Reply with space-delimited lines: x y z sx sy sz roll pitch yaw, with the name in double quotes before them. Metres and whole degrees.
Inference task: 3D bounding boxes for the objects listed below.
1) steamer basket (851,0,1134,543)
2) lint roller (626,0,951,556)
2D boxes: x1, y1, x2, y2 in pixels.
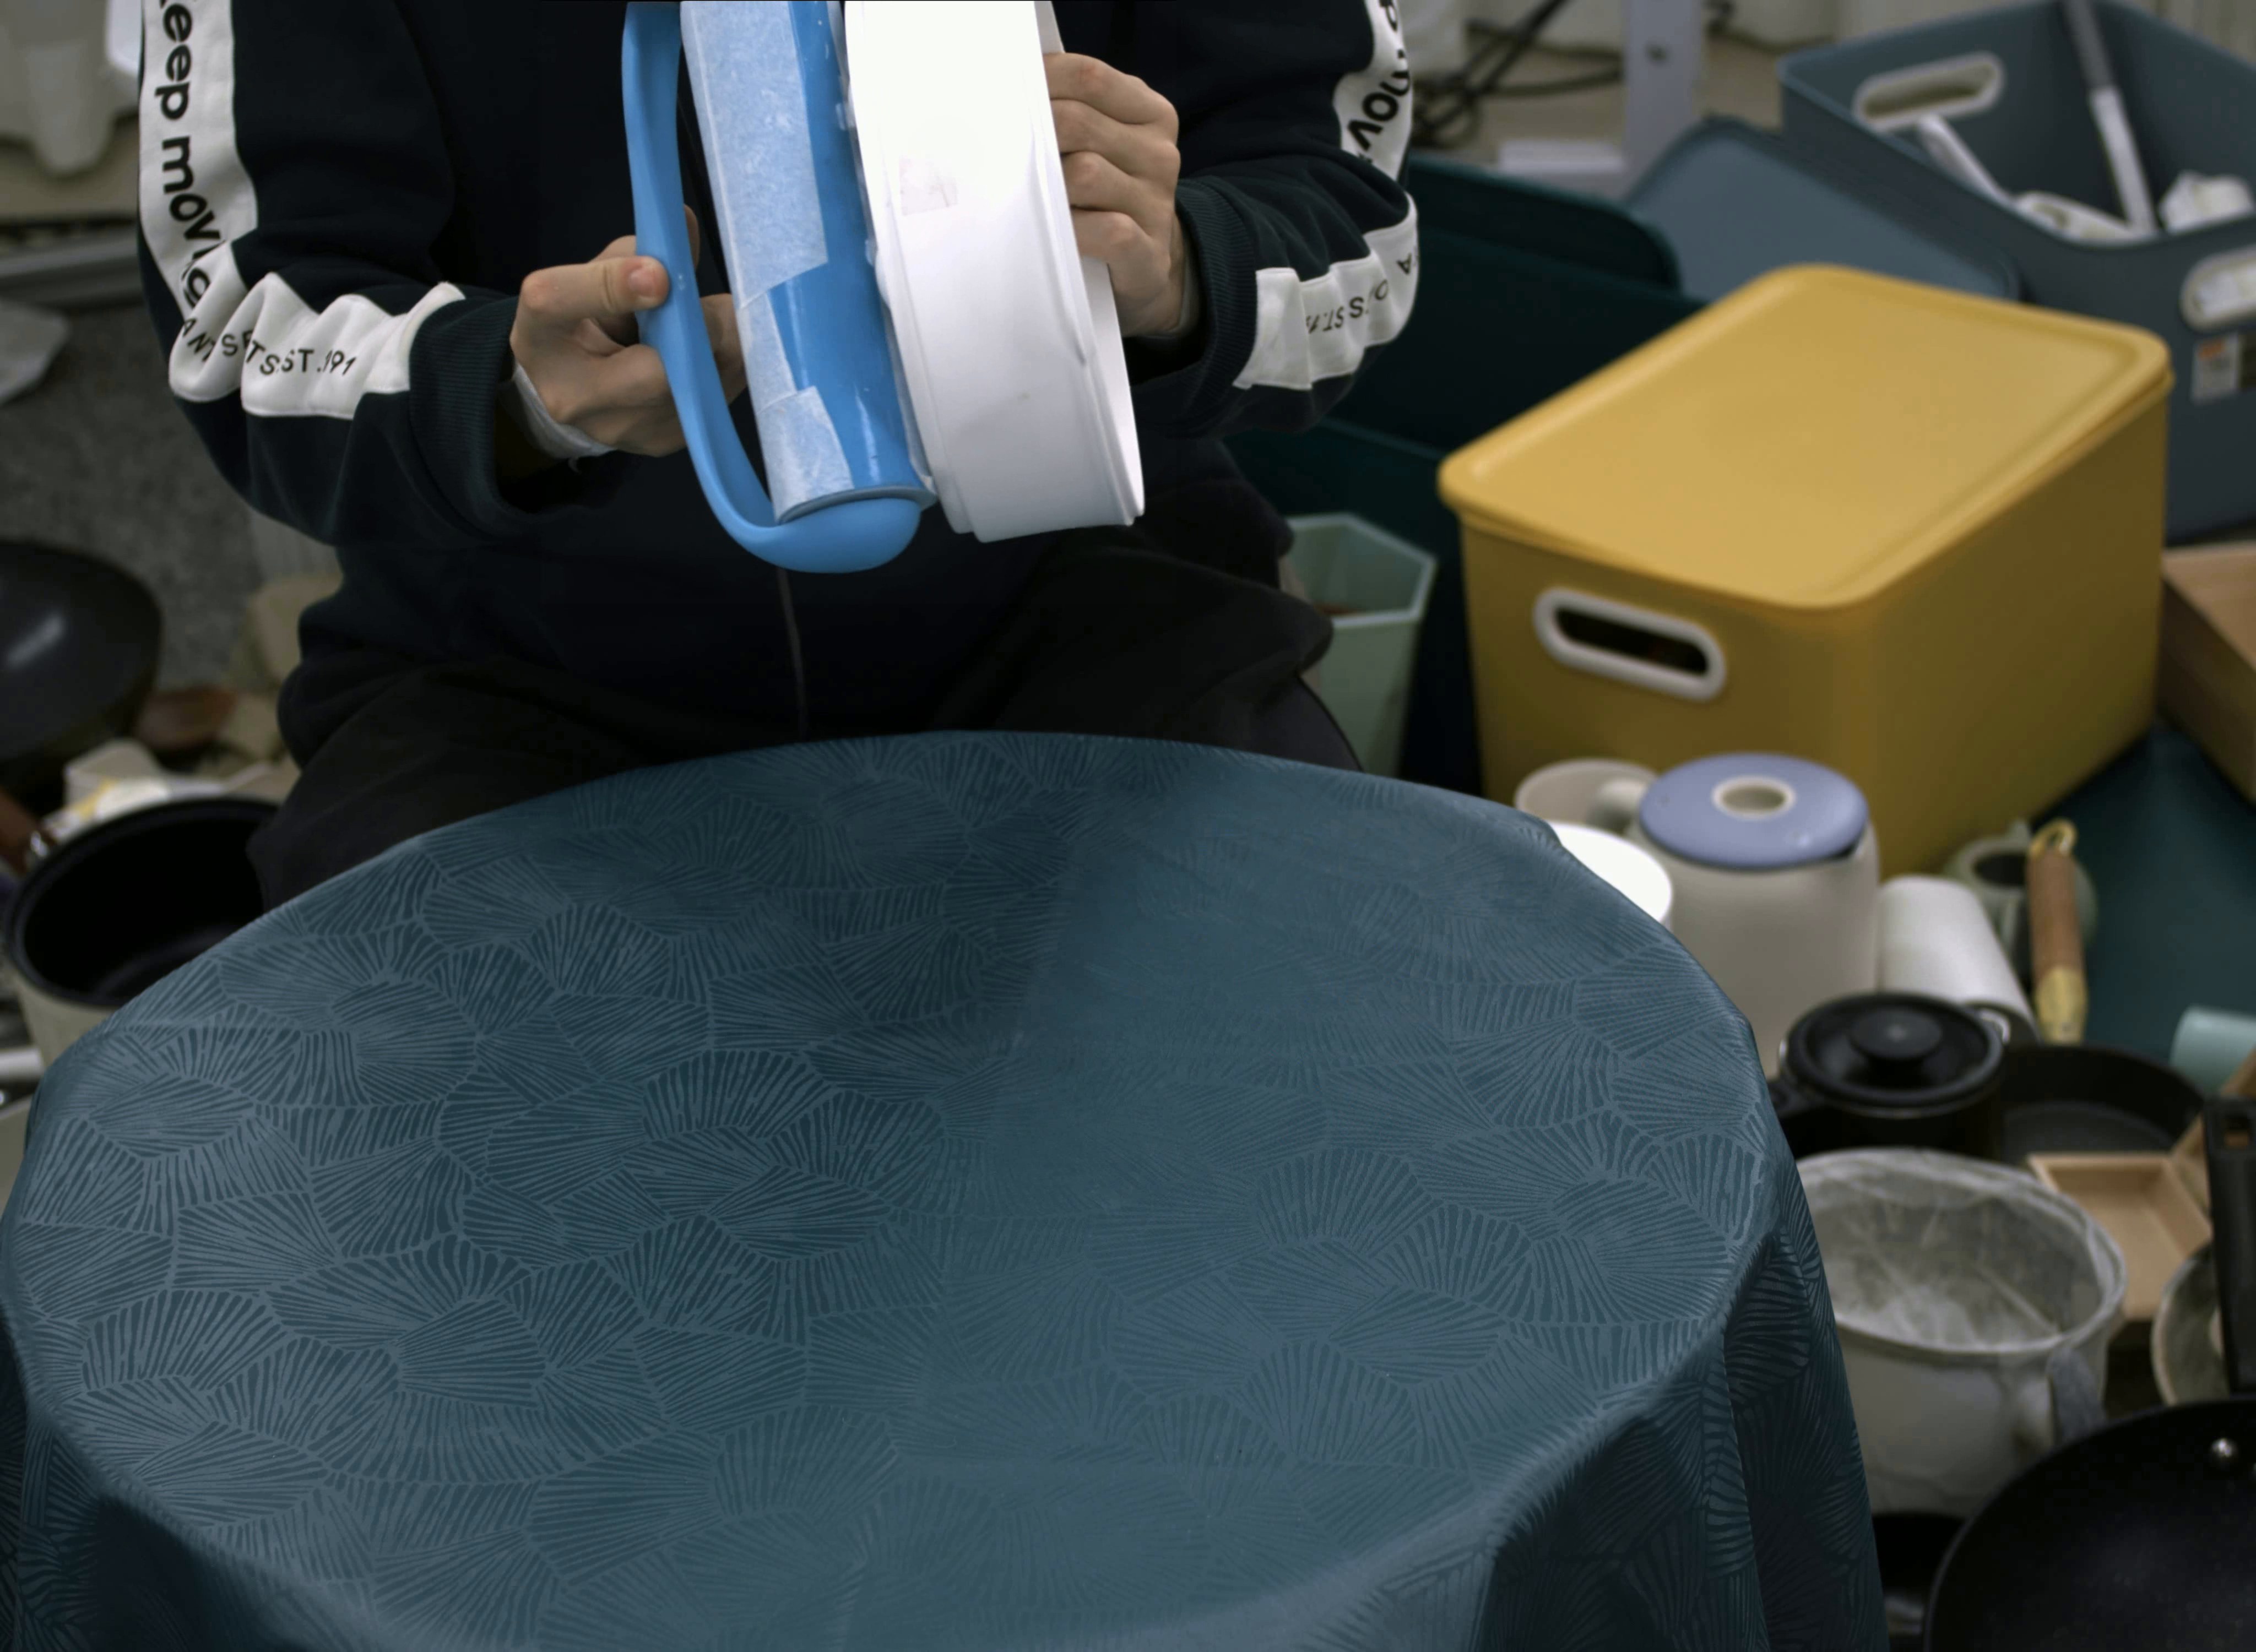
"steamer basket" -0.046 -0.193 1.872 0.069 0.202 0.232 -10 9 2
"lint roller" -0.130 -0.180 1.893 0.068 0.231 0.177 -7 -17 -29
